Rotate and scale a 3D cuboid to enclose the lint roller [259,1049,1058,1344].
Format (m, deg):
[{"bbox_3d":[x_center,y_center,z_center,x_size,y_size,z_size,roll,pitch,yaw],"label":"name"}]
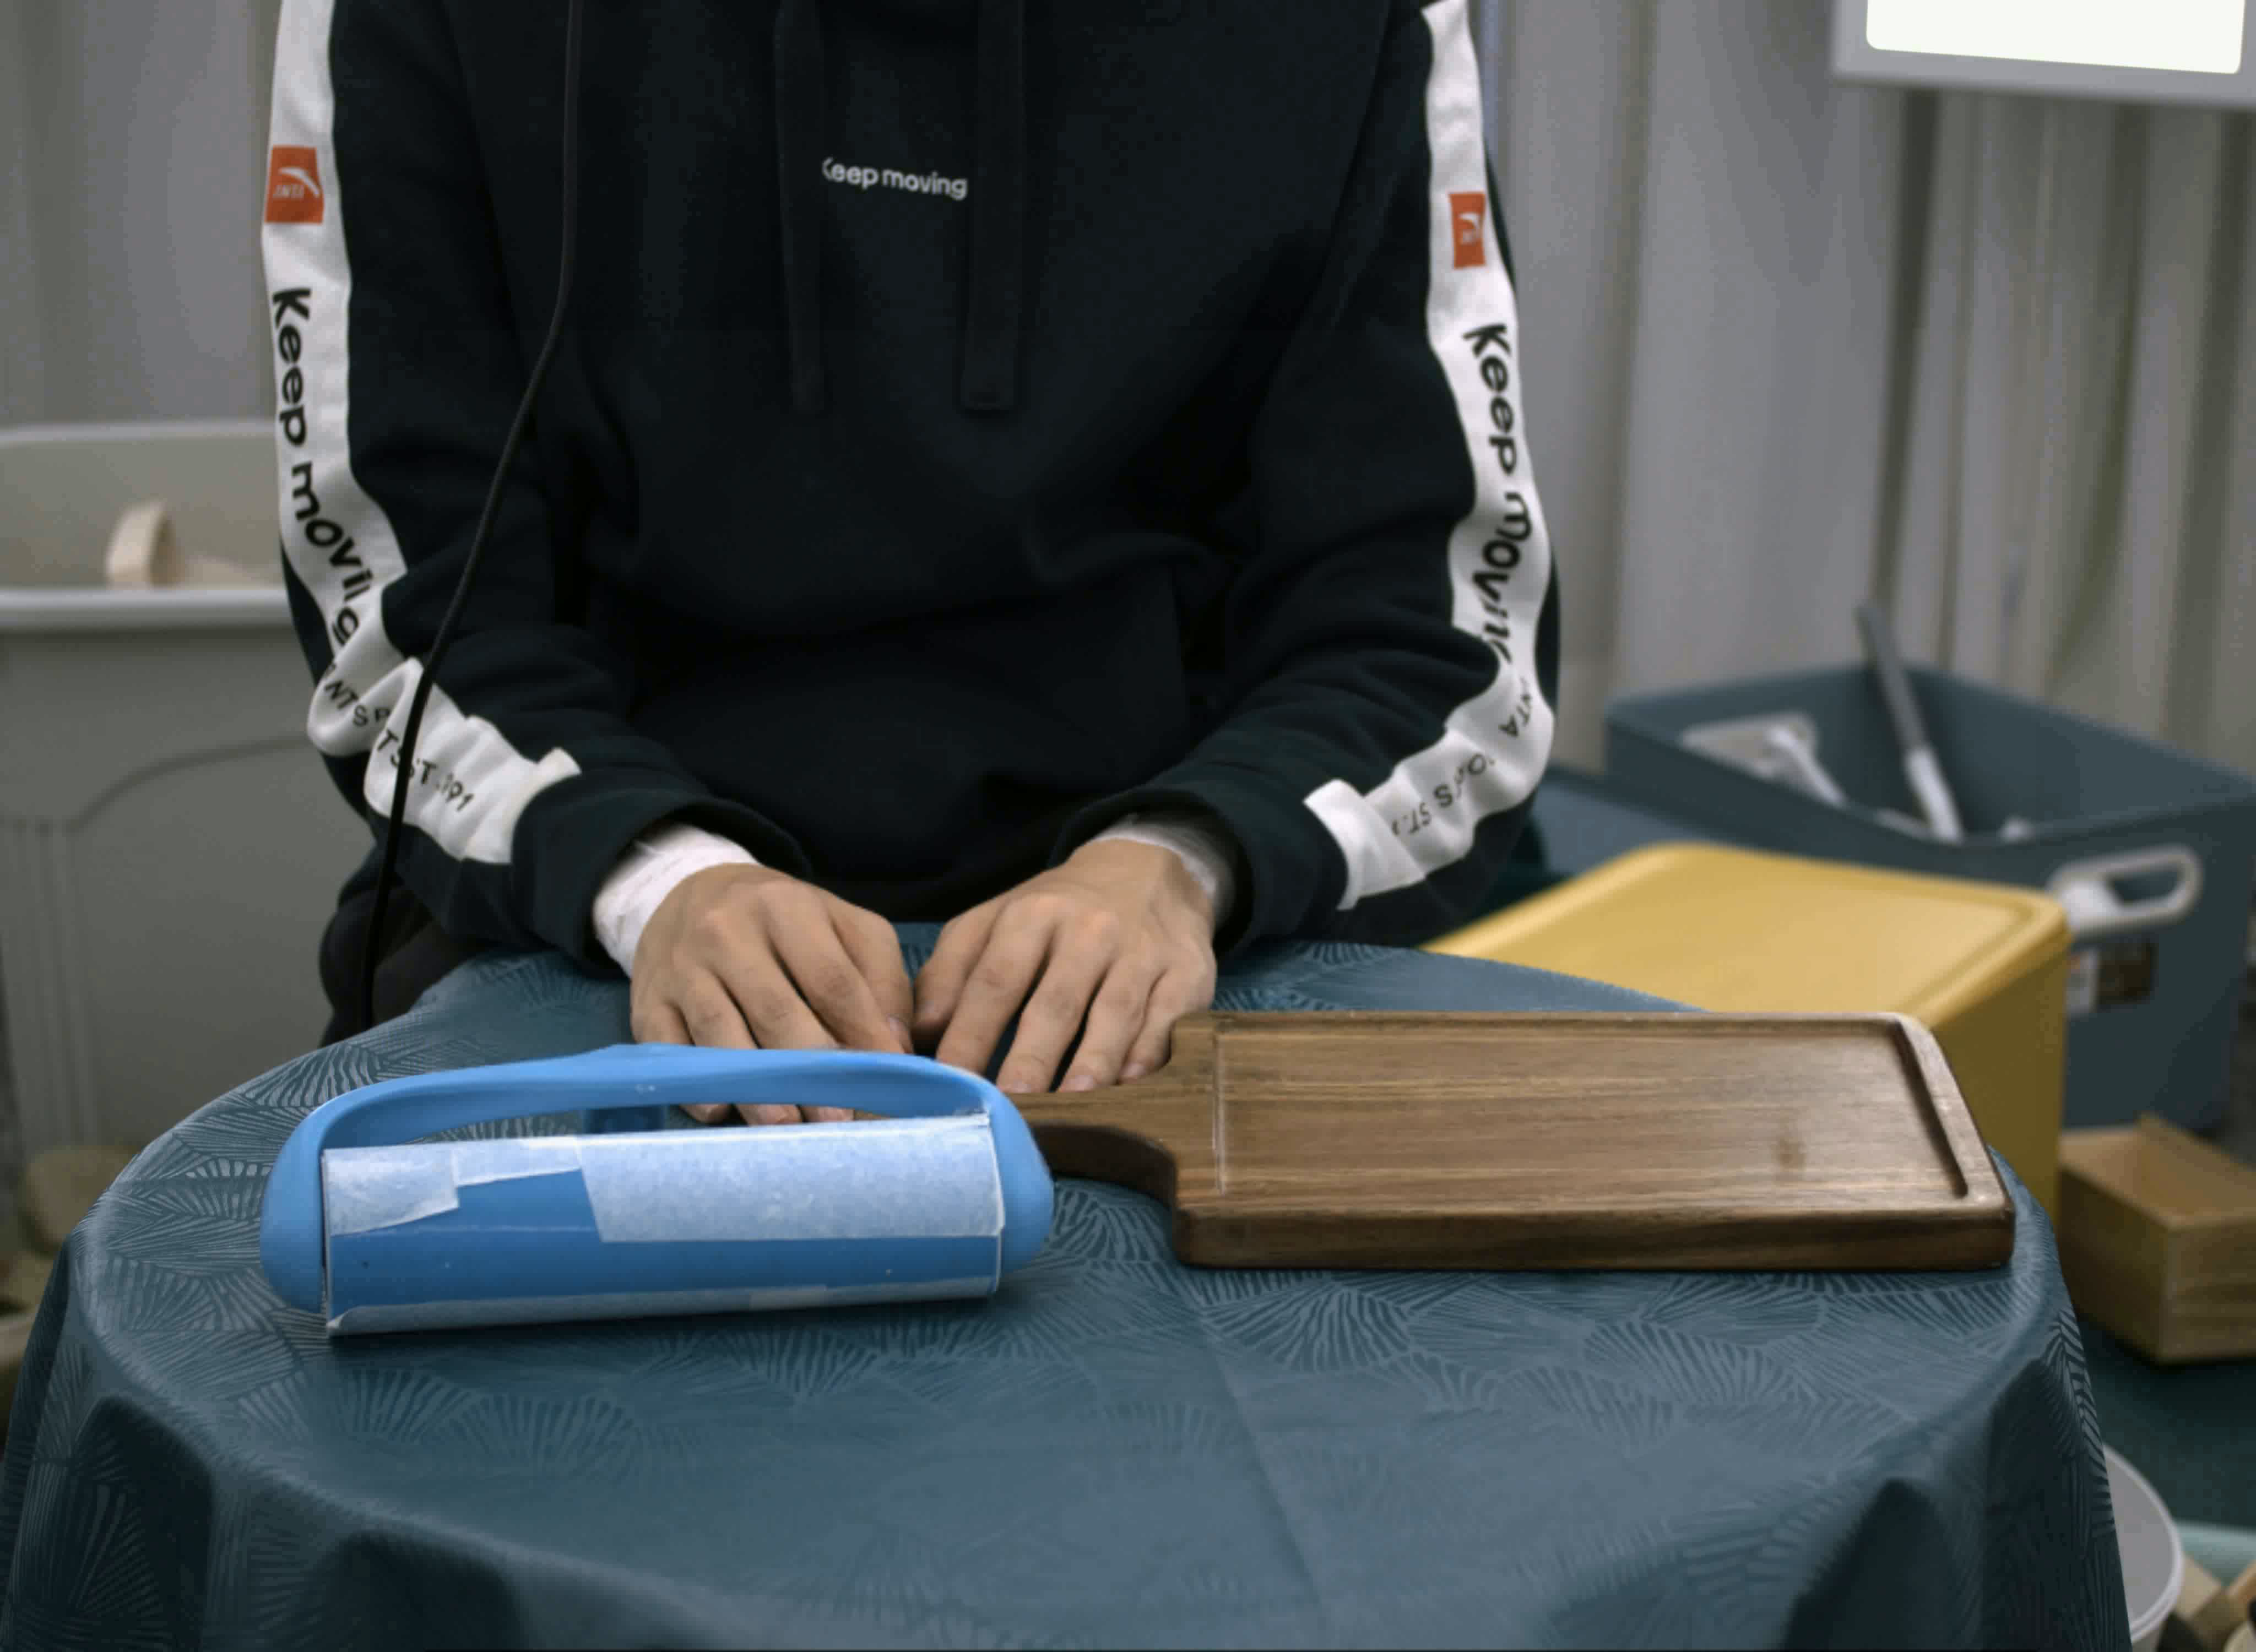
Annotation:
[{"bbox_3d":[-0.146,0.097,1.562,0.229,0.068,0.178,-5,18,-12],"label":"lint roller"}]

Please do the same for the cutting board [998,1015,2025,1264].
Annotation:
[{"bbox_3d":[0.090,0.095,1.642,0.351,0.023,0.200,0,15,-1],"label":"cutting board"}]
